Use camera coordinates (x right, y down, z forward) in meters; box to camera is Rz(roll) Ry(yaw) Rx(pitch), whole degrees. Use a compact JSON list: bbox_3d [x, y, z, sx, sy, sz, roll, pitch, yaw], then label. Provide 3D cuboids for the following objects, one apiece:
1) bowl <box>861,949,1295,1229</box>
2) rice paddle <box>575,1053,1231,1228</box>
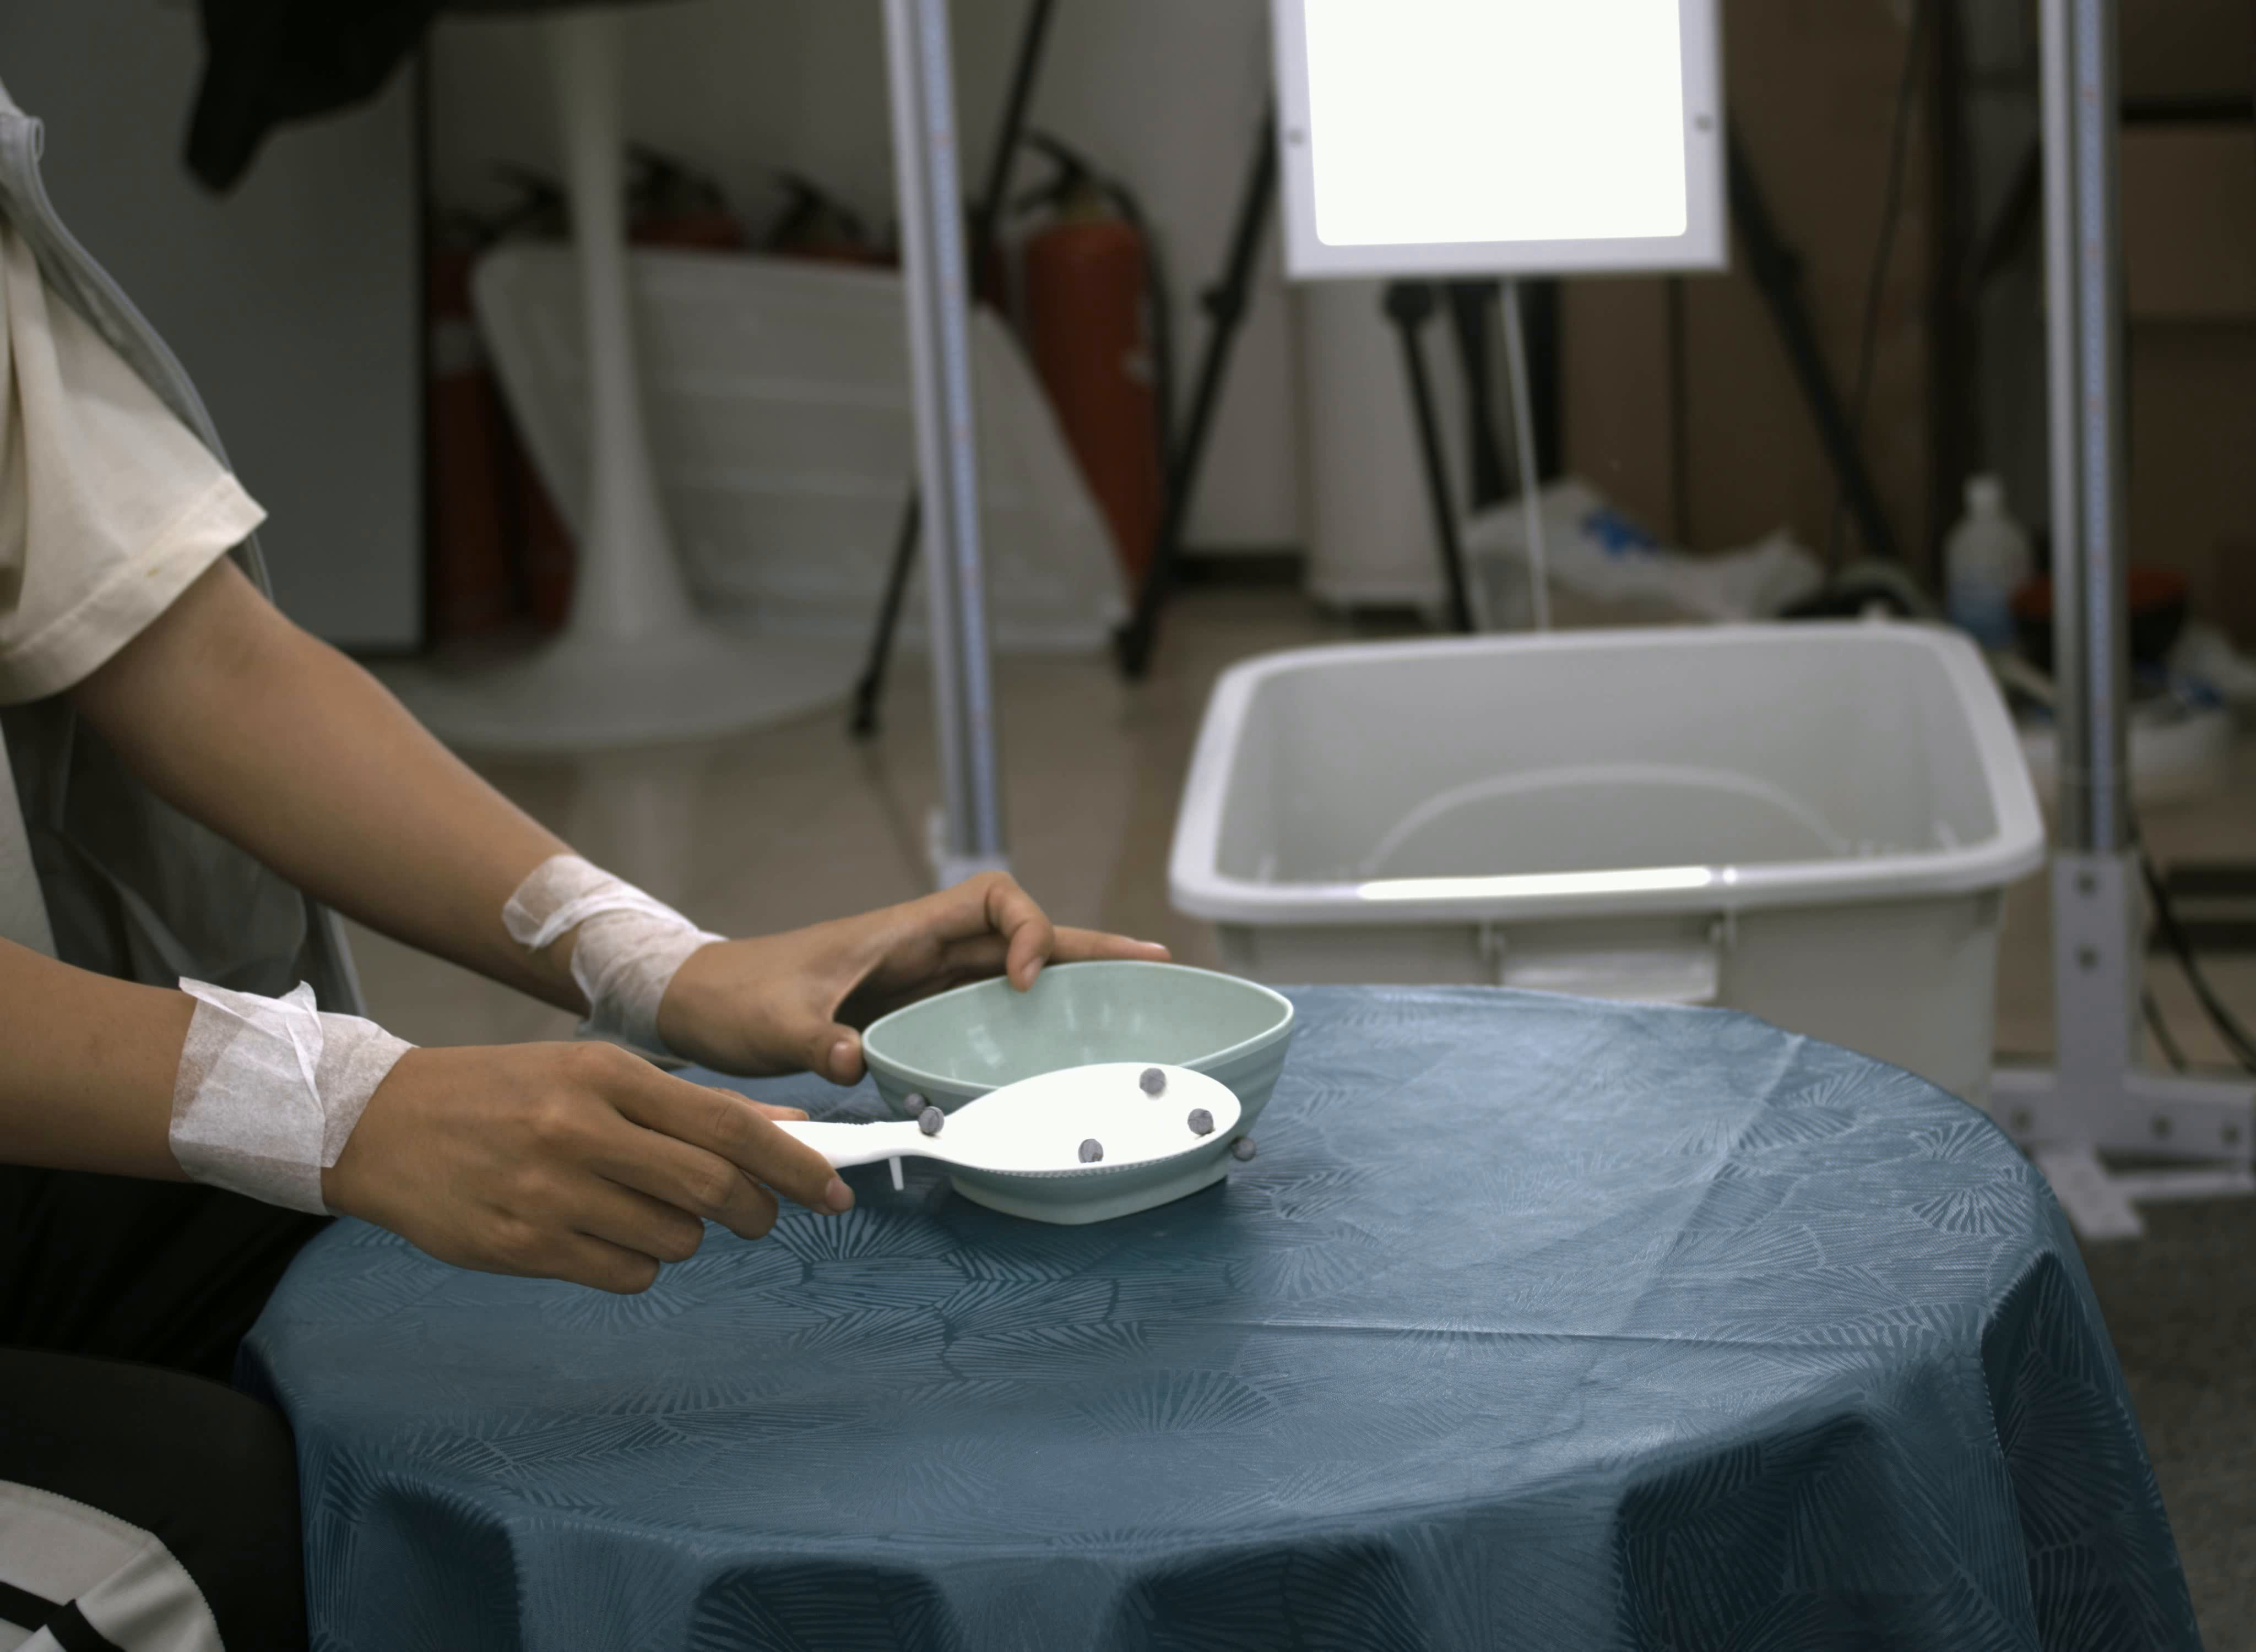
[{"bbox_3d":[-0.015,0.094,1.906,0.151,0.059,0.151,-5,18,0],"label":"bowl"},{"bbox_3d":[-0.069,0.096,1.717,0.204,0.029,0.069,-8,27,0],"label":"rice paddle"}]
